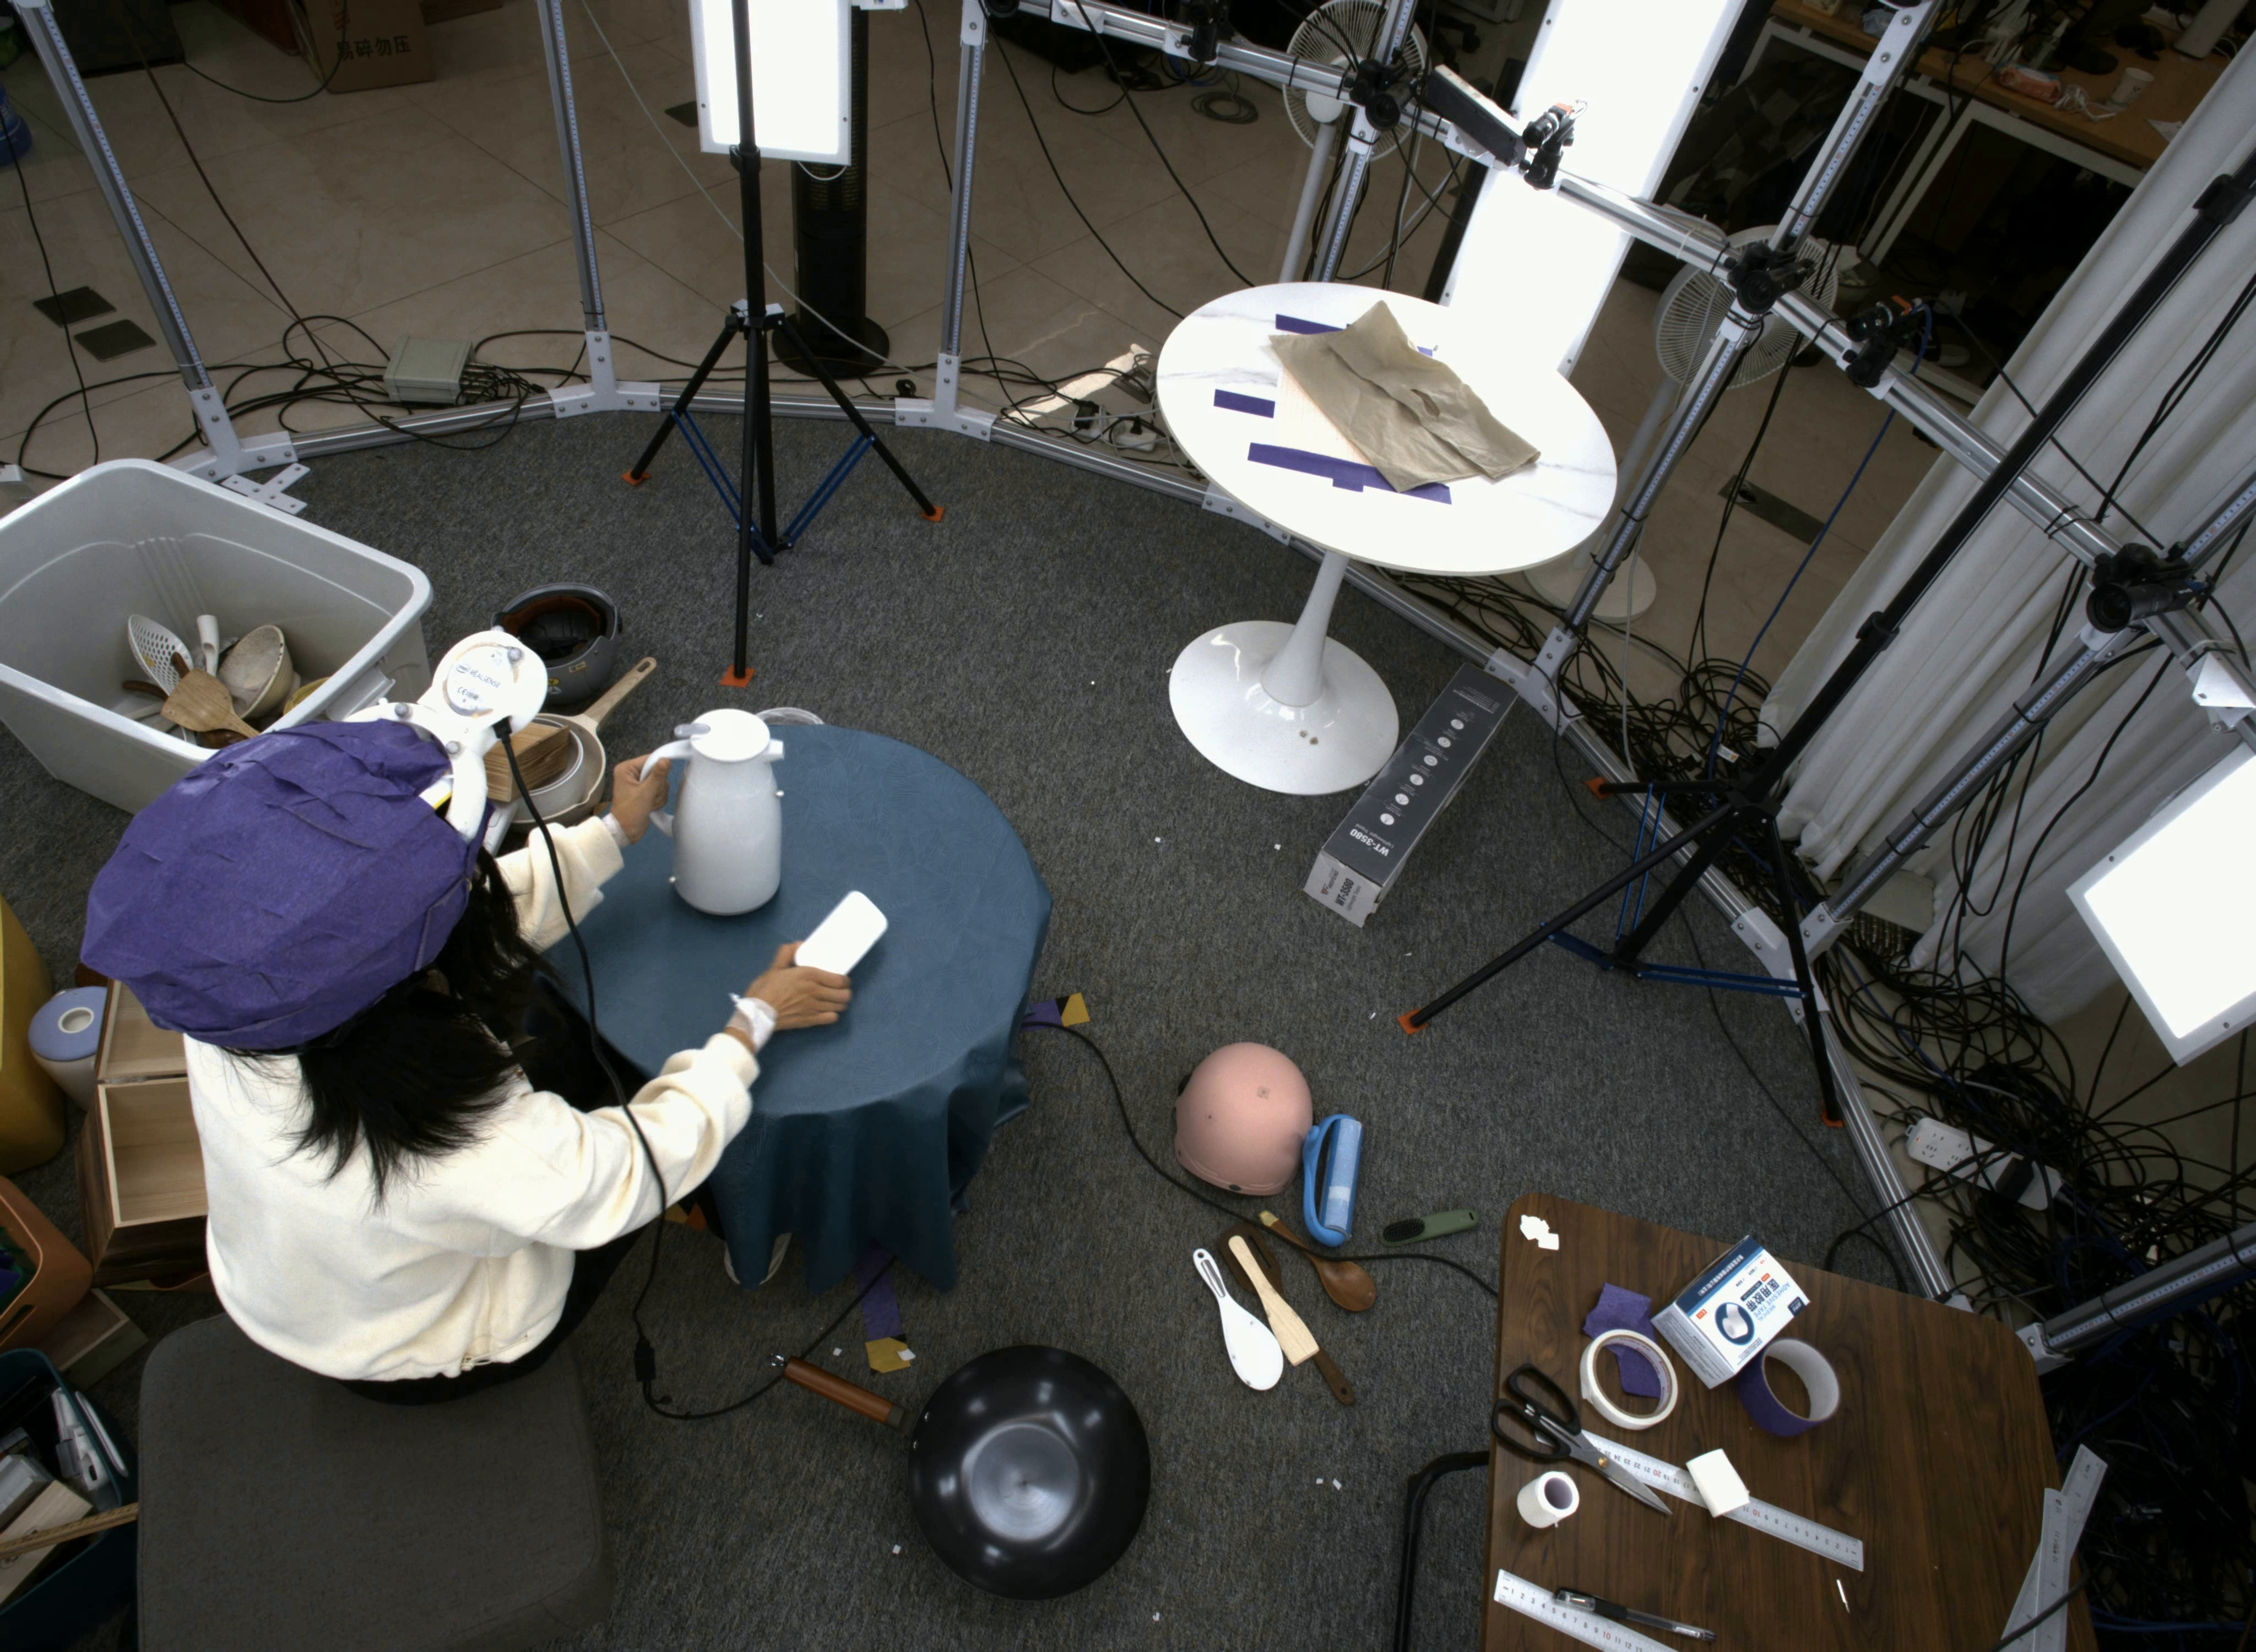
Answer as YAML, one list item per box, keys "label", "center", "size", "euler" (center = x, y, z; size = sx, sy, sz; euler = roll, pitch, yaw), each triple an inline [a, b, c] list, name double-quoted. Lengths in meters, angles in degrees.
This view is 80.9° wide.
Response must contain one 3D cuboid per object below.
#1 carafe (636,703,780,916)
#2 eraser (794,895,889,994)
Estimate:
- label: "carafe"
  center: [-0.502, -0.027, 1.545]
  size: [0.168, 0.254, 0.129]
  euler: [2, 45, -14]
- label: "eraser"
  center: [-0.349, 0.141, 1.580]
  size: [0.064, 0.034, 0.131]
  euler: [48, 48, -11]
